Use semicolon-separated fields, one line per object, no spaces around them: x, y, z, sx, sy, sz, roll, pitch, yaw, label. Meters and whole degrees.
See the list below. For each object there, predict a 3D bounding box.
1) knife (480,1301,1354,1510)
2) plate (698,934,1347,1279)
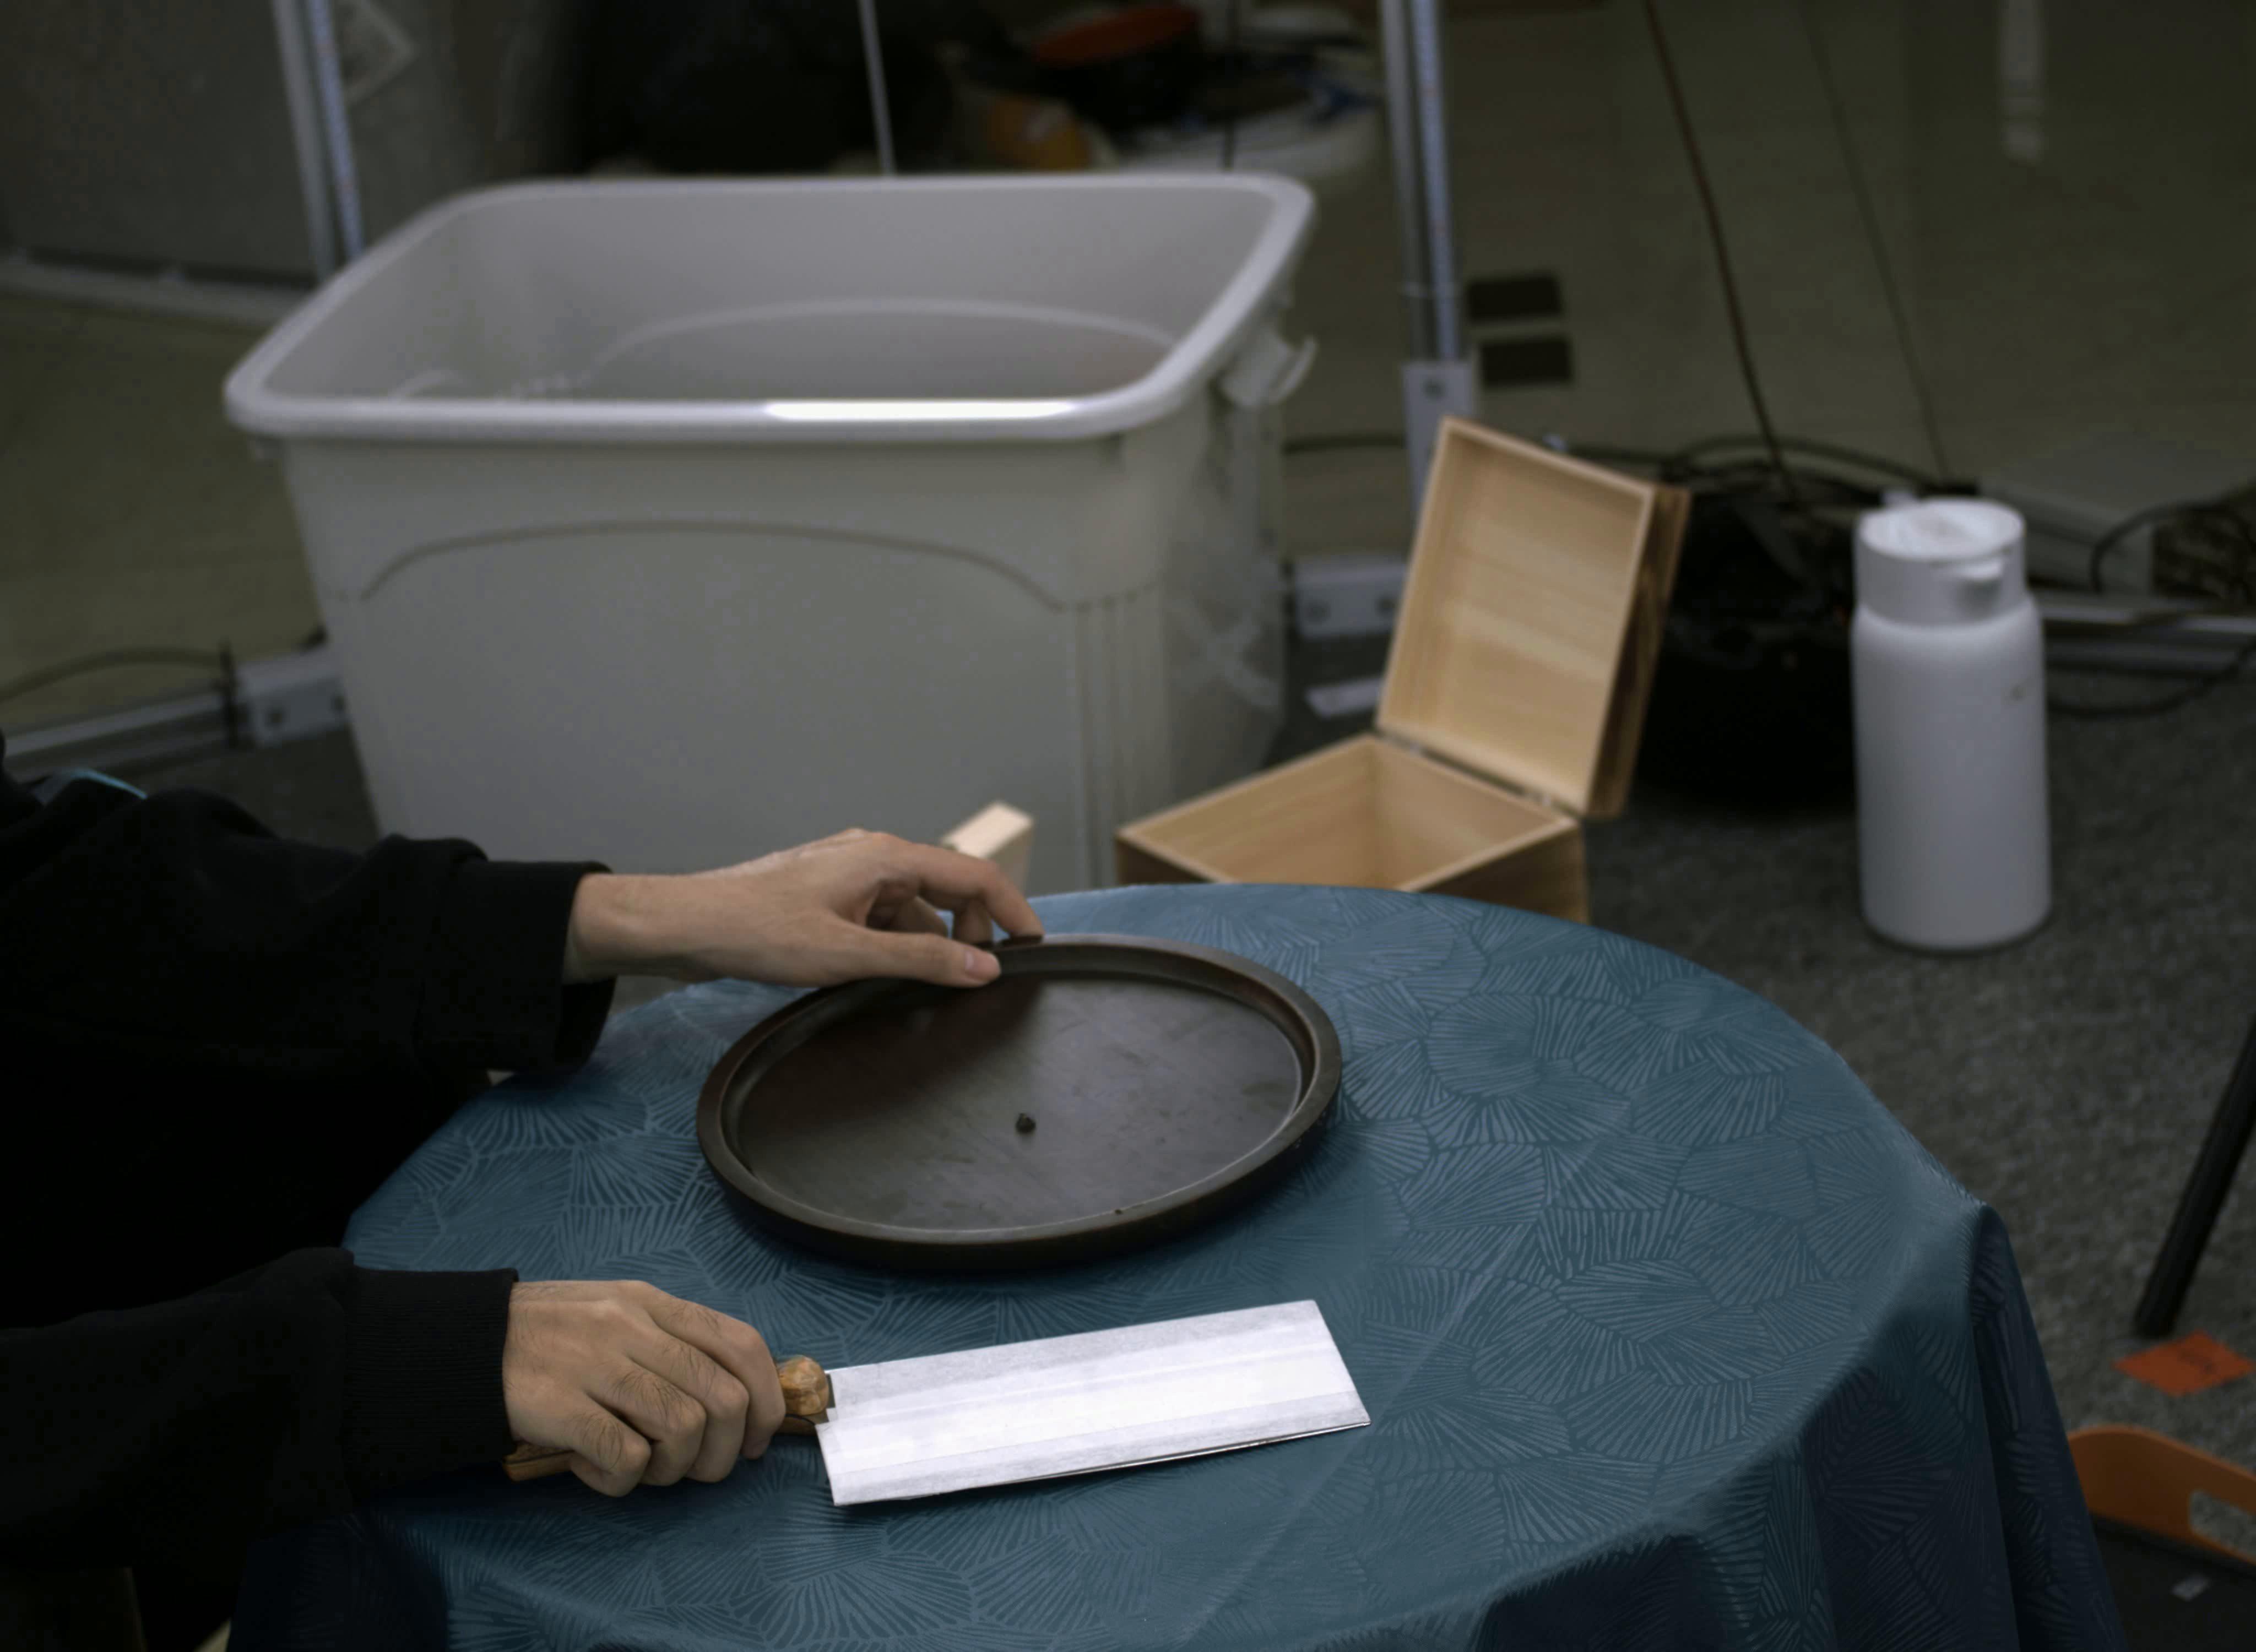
-0.073;0.209;1.996;0.305;0.021;0.091;-8;26;-8;knife
-0.041;0.107;2.194;0.254;0.029;0.251;-4;27;2;plate
